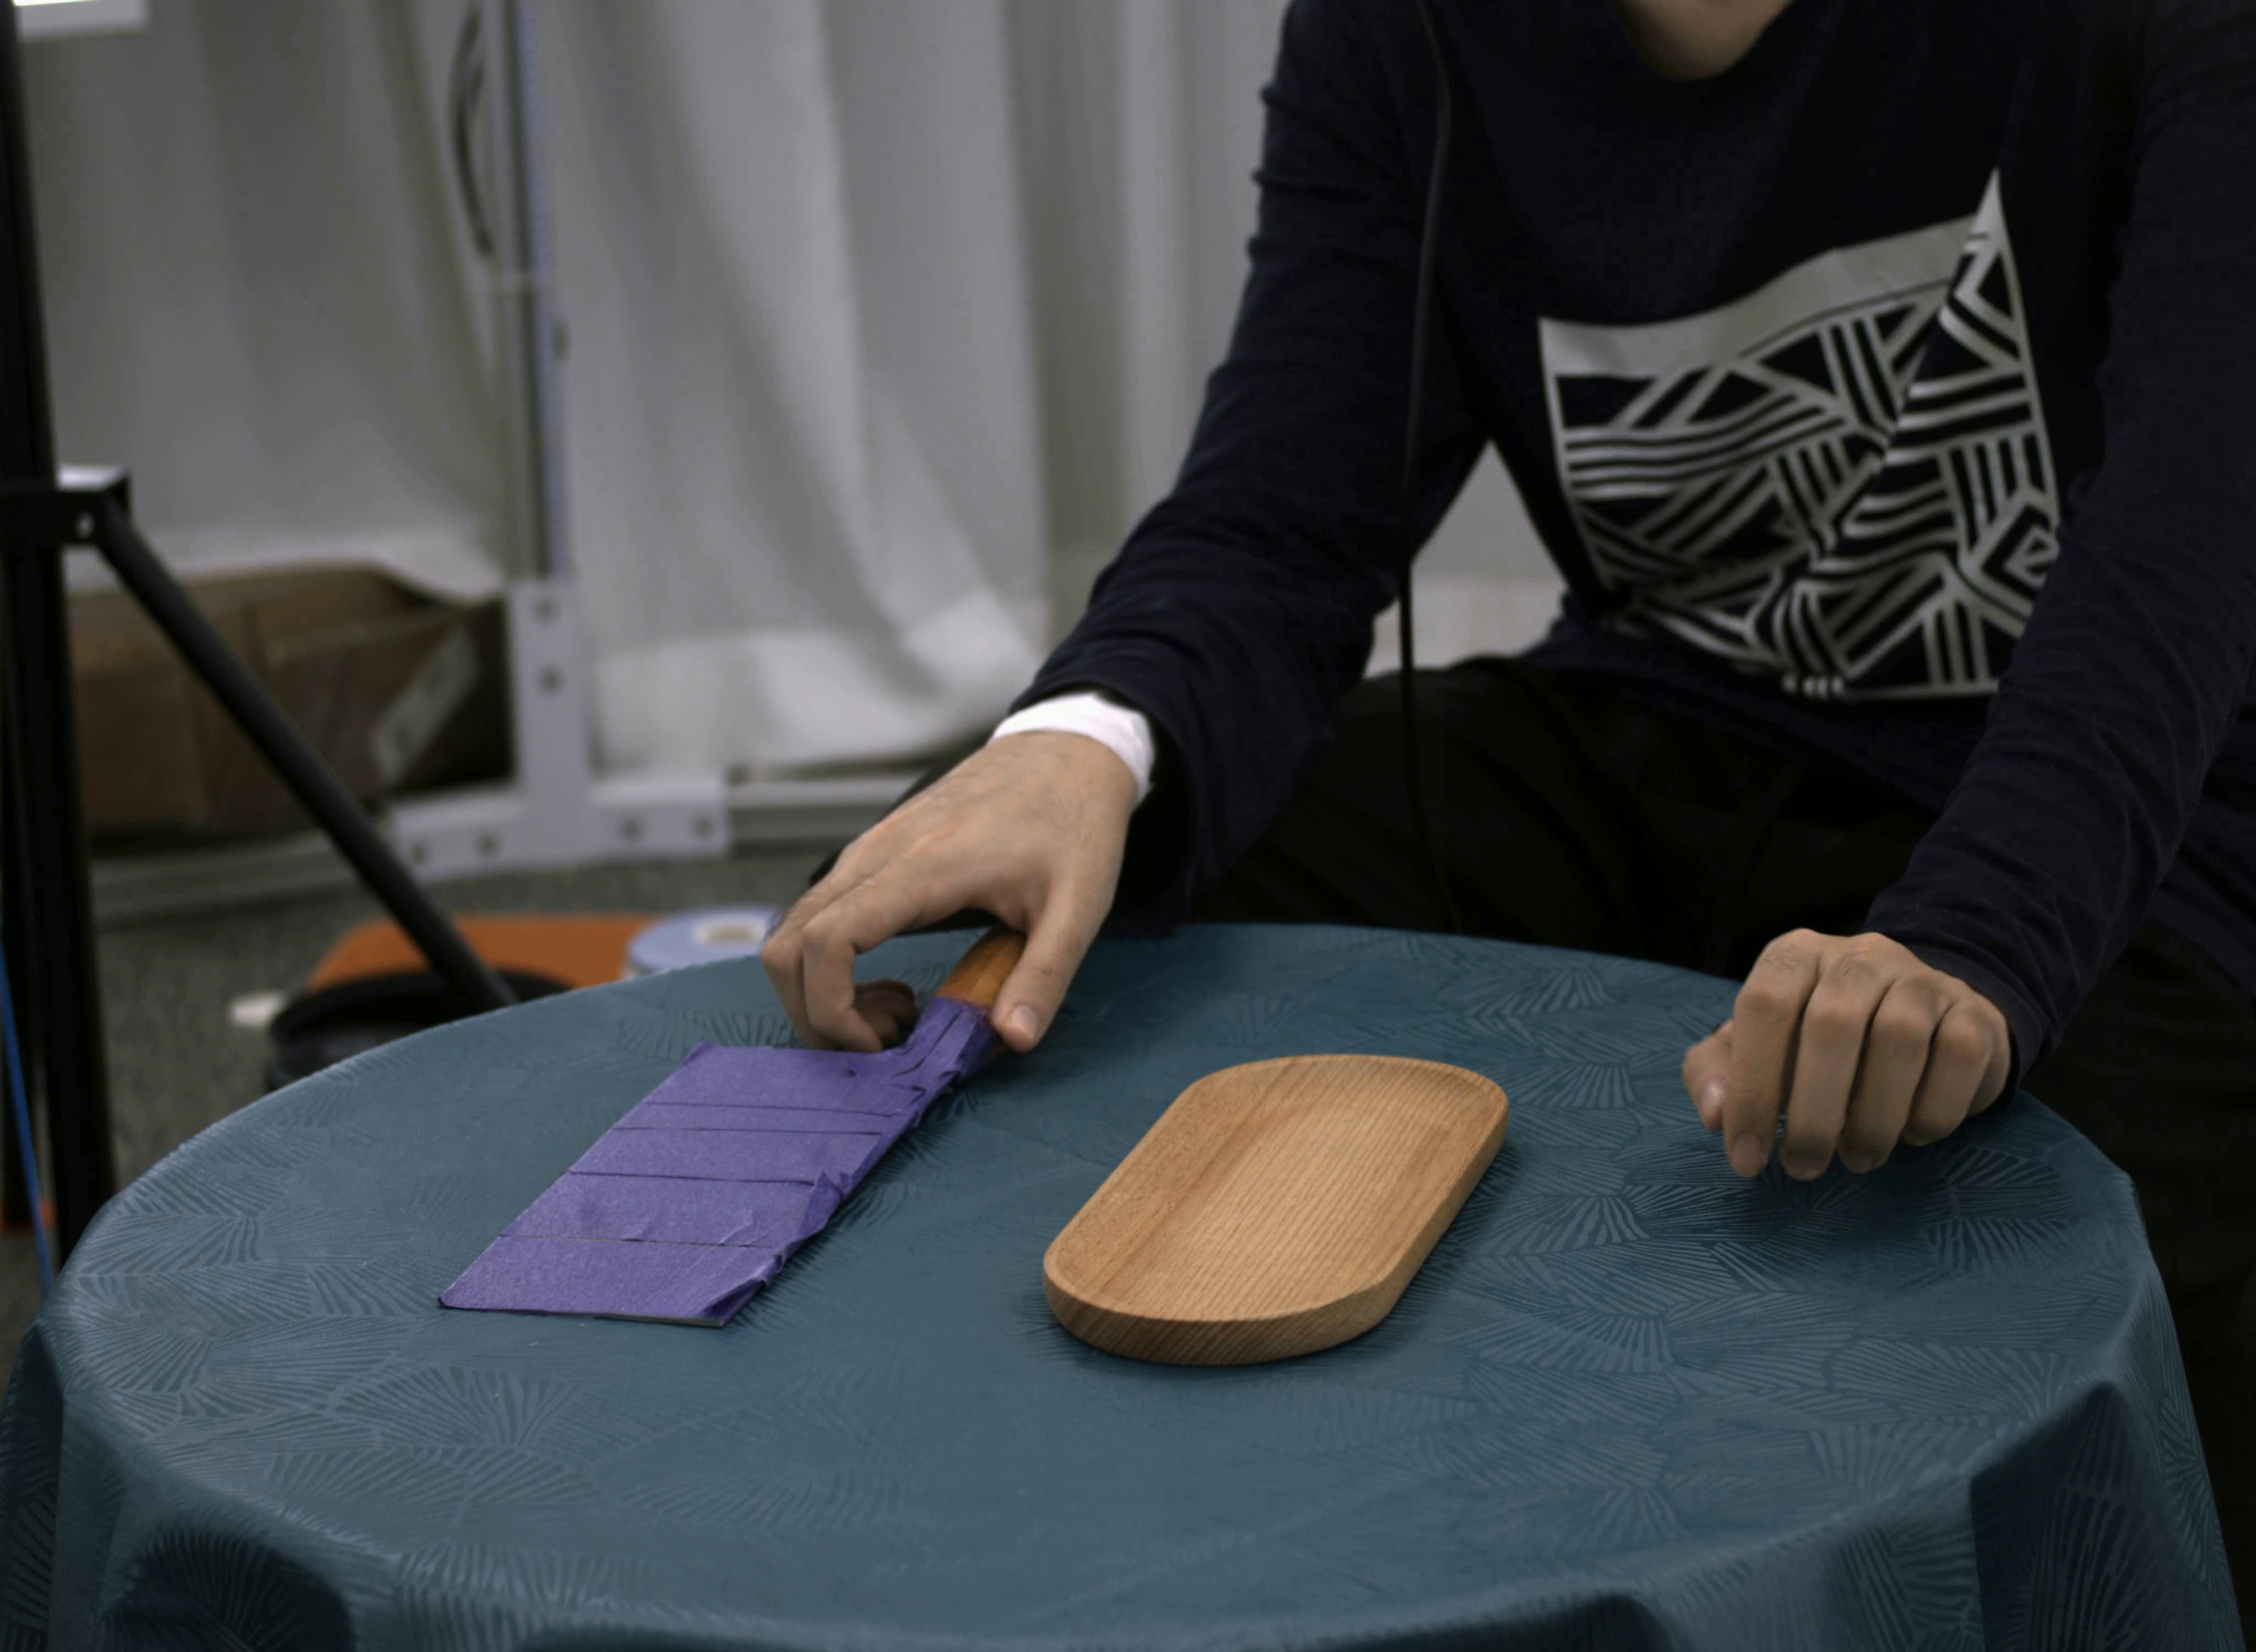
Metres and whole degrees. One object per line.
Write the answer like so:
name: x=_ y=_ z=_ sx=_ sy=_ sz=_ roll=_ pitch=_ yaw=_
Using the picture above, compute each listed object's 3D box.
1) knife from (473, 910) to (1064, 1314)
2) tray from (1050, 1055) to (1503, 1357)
knife: x=-0.106 y=0.083 z=1.617 sx=0.105 sy=0.032 sz=0.312 roll=3 pitch=17 yaw=17
tray: x=0.046 y=0.107 z=1.529 sx=0.102 sy=0.020 sz=0.229 roll=3 pitch=15 yaw=15
